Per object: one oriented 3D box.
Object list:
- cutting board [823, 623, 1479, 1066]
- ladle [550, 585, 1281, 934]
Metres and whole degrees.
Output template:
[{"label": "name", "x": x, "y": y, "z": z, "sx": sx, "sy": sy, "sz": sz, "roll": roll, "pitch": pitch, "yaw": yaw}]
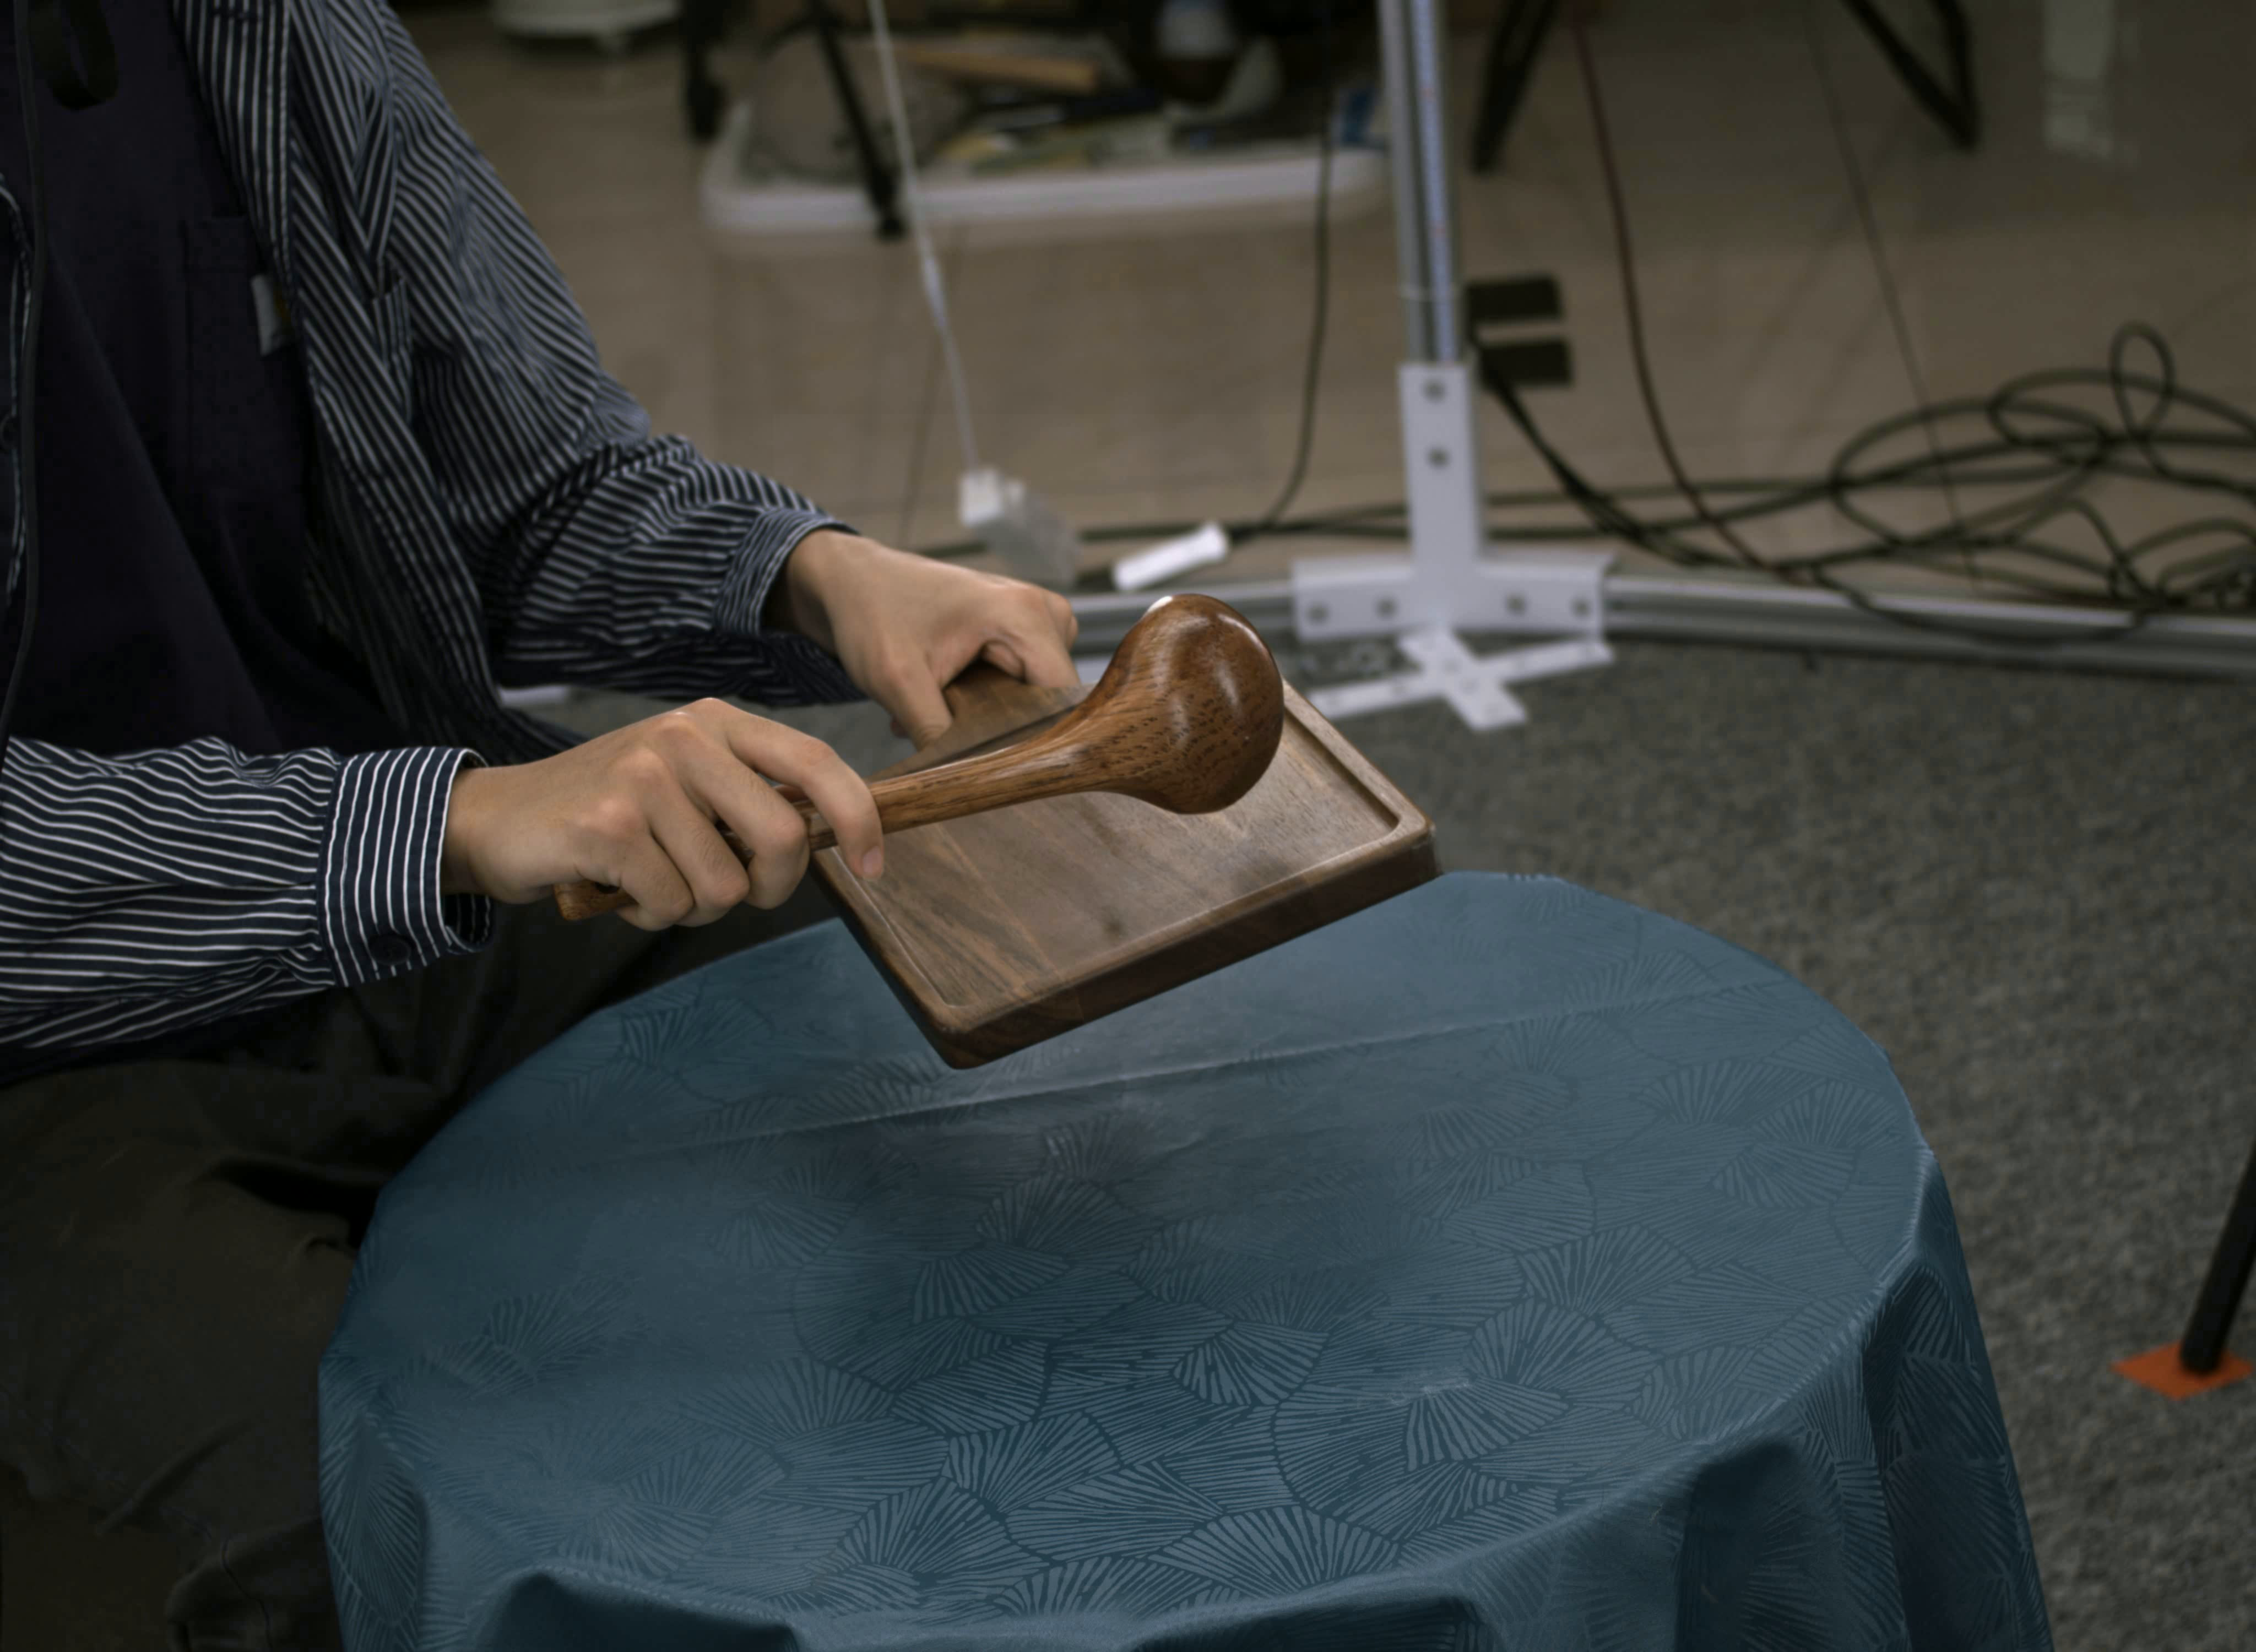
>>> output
[{"label": "cutting board", "x": -0.011, "y": -0.014, "z": 2.174, "sx": 0.200, "sy": 0.023, "sz": 0.348, "roll": -22, "pitch": 24, "yaw": -7}, {"label": "ladle", "x": -0.077, "y": -0.019, "z": 2.067, "sx": 0.274, "sy": 0.082, "sz": 0.076, "roll": -16, "pitch": 11, "yaw": 5}]
